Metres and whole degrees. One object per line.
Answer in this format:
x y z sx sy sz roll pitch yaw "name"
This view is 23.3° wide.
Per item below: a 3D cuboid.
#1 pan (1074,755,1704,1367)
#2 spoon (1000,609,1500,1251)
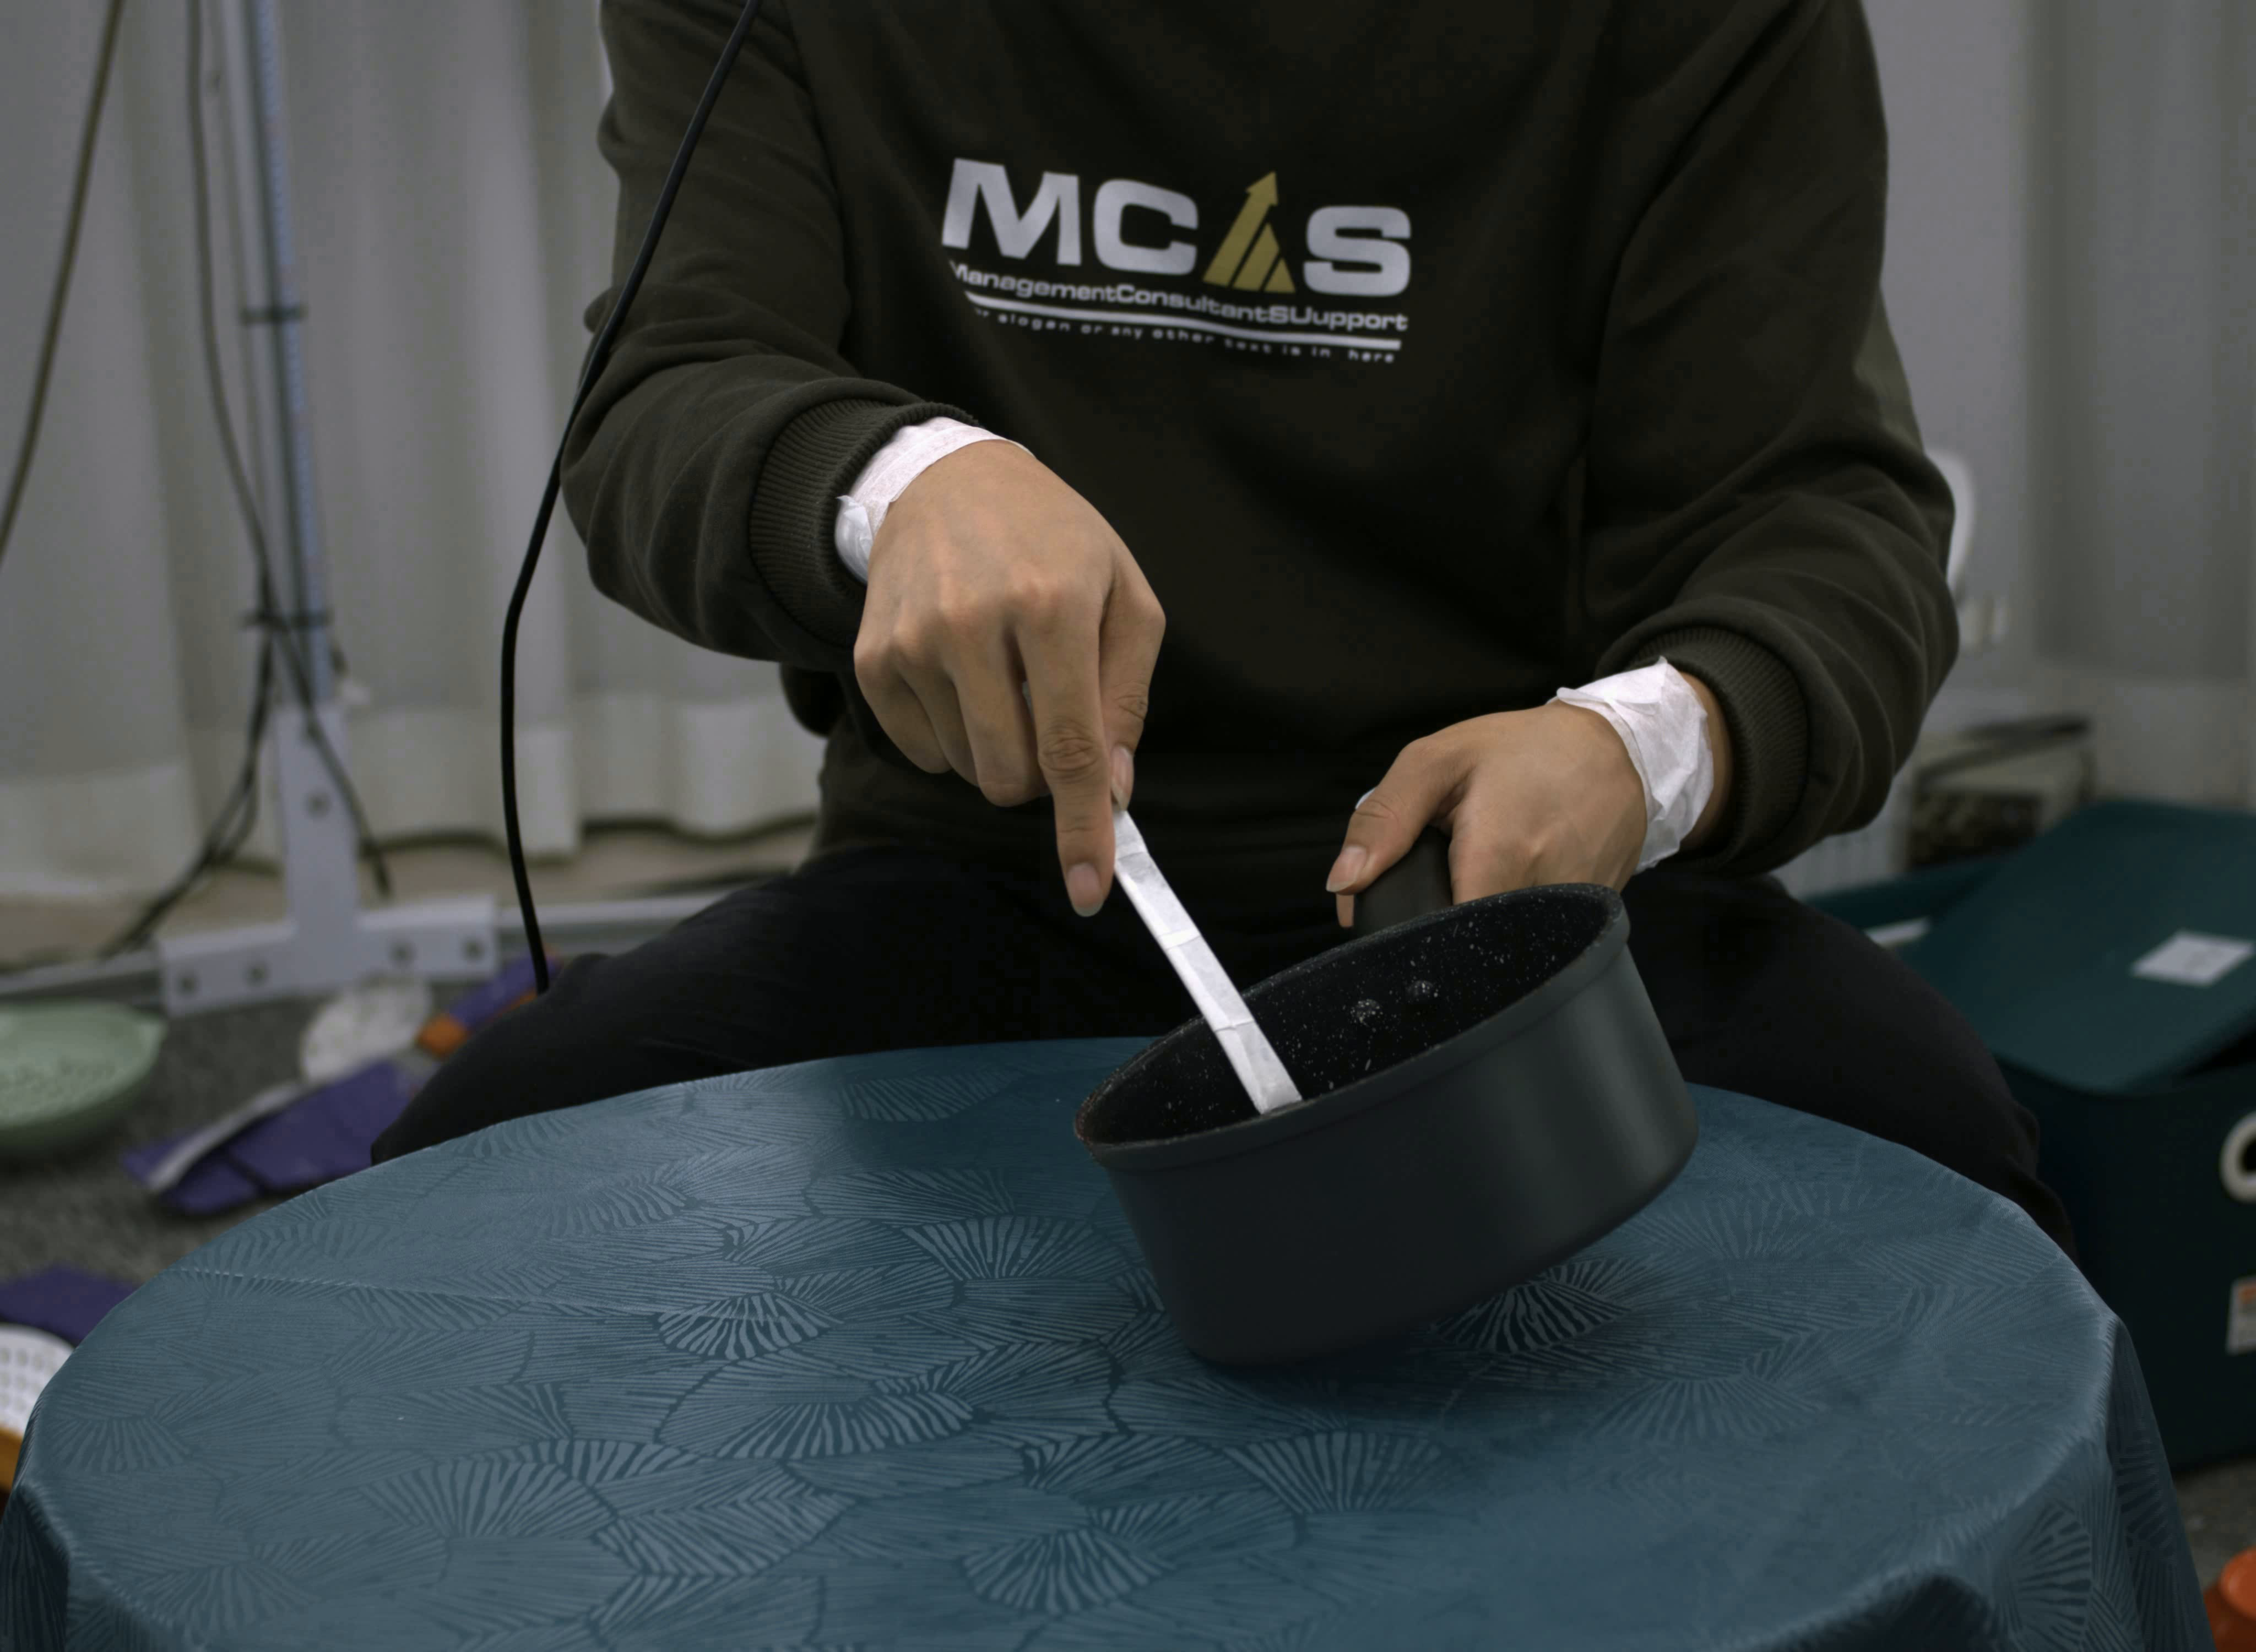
0.089 0.063 1.647 0.171 0.086 0.330 -20 12 15 "pan"
0.036 0.024 1.599 0.100 0.059 0.281 -2 50 -36 "spoon"
